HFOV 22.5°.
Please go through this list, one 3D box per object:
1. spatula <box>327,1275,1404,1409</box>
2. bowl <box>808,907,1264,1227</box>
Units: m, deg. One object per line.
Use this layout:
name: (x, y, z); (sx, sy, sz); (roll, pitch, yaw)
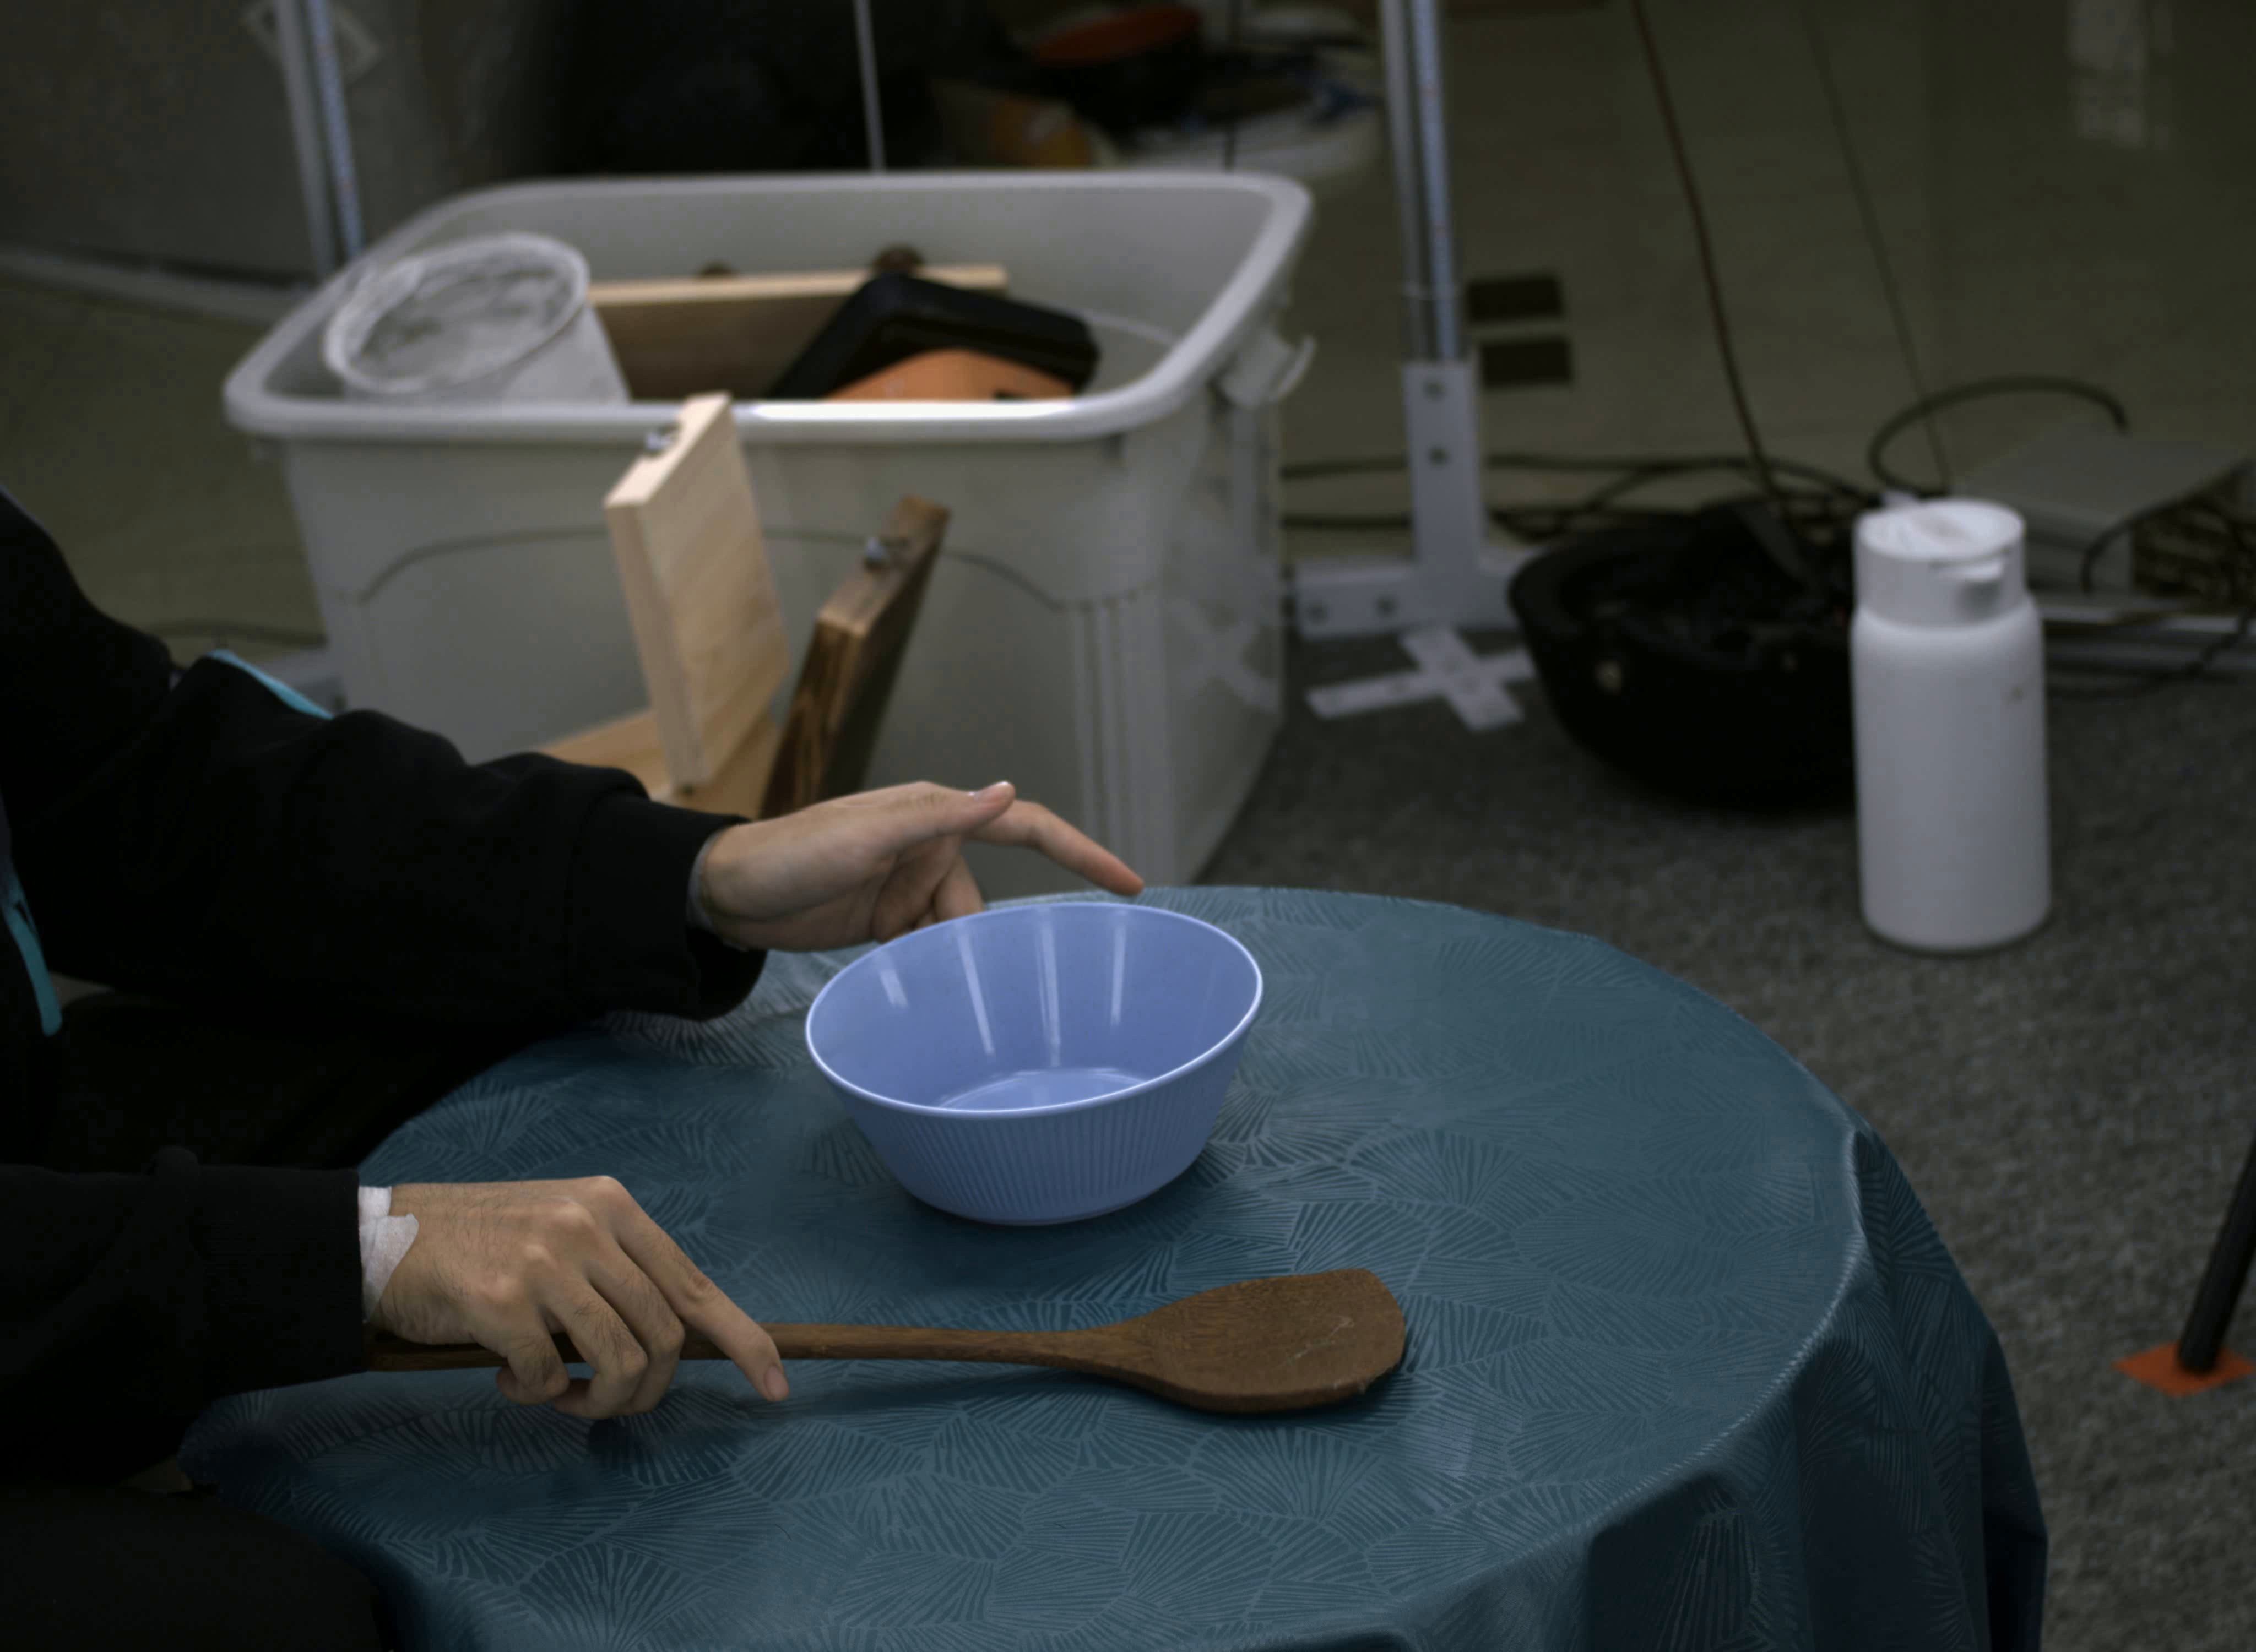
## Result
spatula: (-0.094, 0.185, 2.028); (0.385, 0.016, 0.095); (0, 21, 0)
bowl: (-0.031, 0.098, 2.166); (0.176, 0.071, 0.173); (-6, 24, 3)
